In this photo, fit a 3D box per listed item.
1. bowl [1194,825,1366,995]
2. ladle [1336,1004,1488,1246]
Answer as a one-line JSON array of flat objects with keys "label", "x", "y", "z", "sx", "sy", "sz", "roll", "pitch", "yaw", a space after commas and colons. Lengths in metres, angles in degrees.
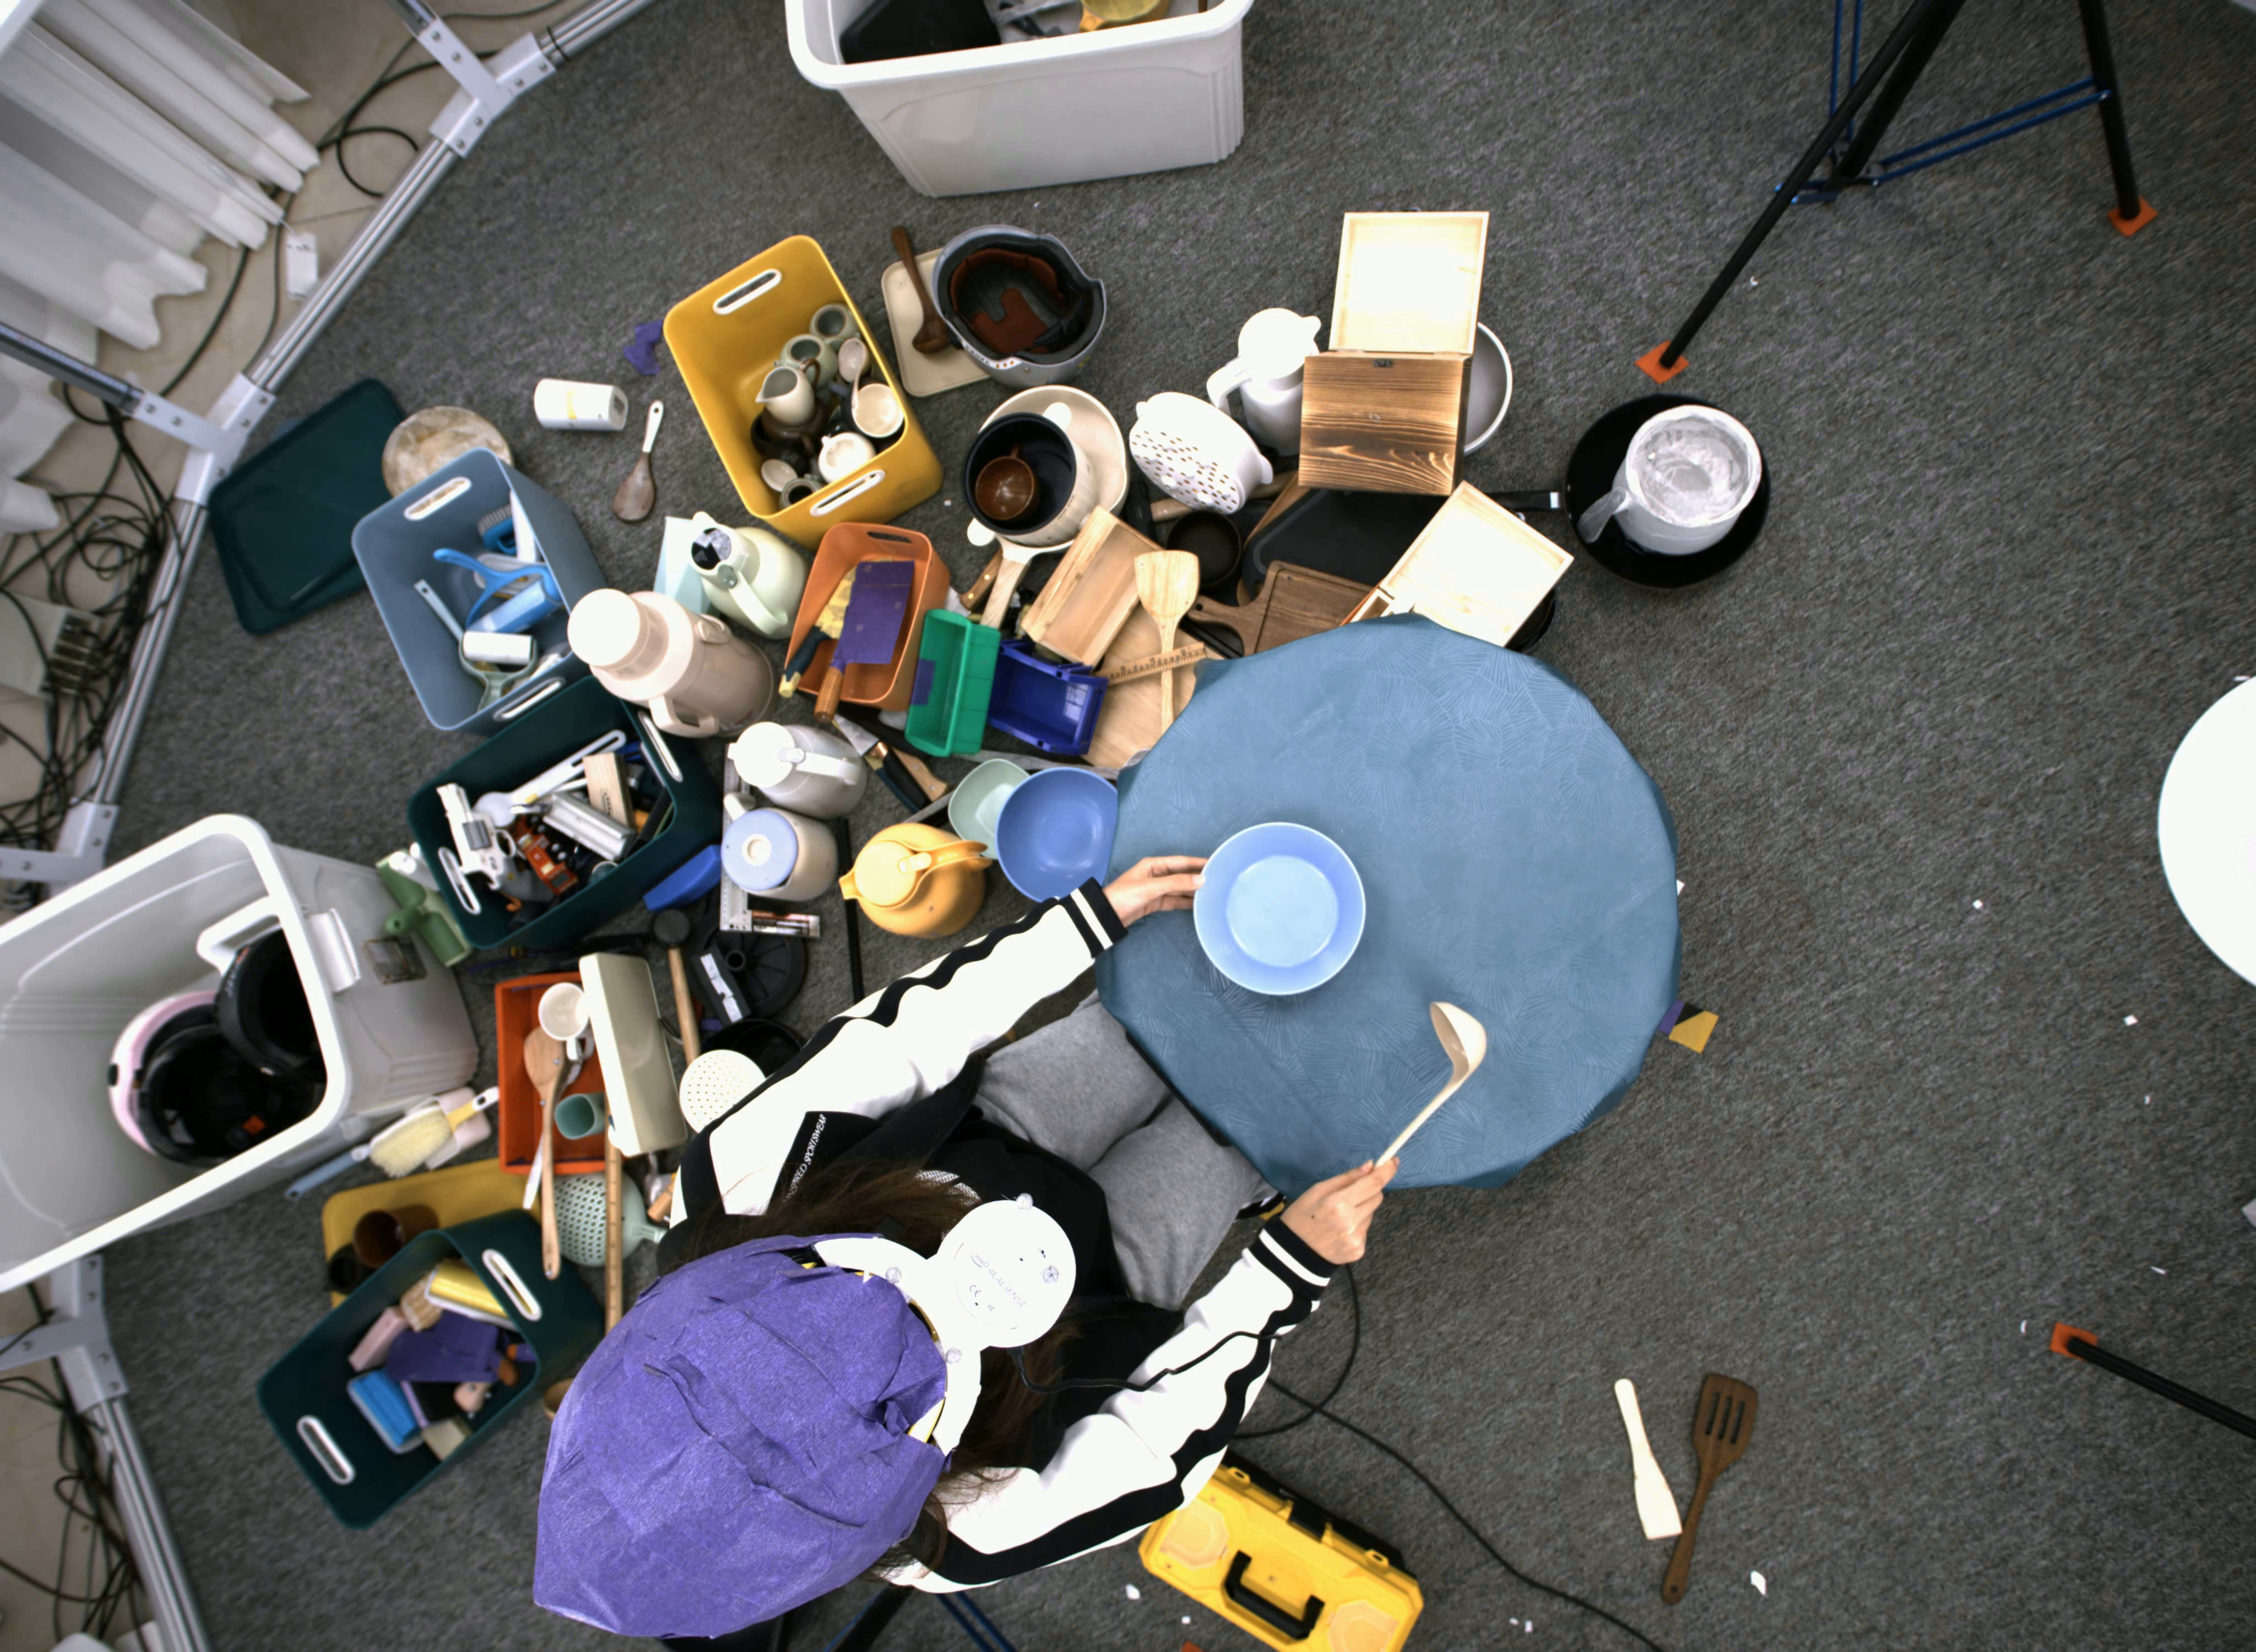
[{"label": "bowl", "x": 0.160, "y": 0.088, "z": 1.444, "sx": 0.177, "sy": 0.070, "sz": 0.175, "roll": -1, "pitch": 85, "yaw": 11}, {"label": "ladle", "x": 0.255, "y": 0.282, "z": 1.337, "sx": 0.073, "sy": 0.072, "sz": 0.253, "roll": 41, "pitch": 84, "yaw": -16}]
